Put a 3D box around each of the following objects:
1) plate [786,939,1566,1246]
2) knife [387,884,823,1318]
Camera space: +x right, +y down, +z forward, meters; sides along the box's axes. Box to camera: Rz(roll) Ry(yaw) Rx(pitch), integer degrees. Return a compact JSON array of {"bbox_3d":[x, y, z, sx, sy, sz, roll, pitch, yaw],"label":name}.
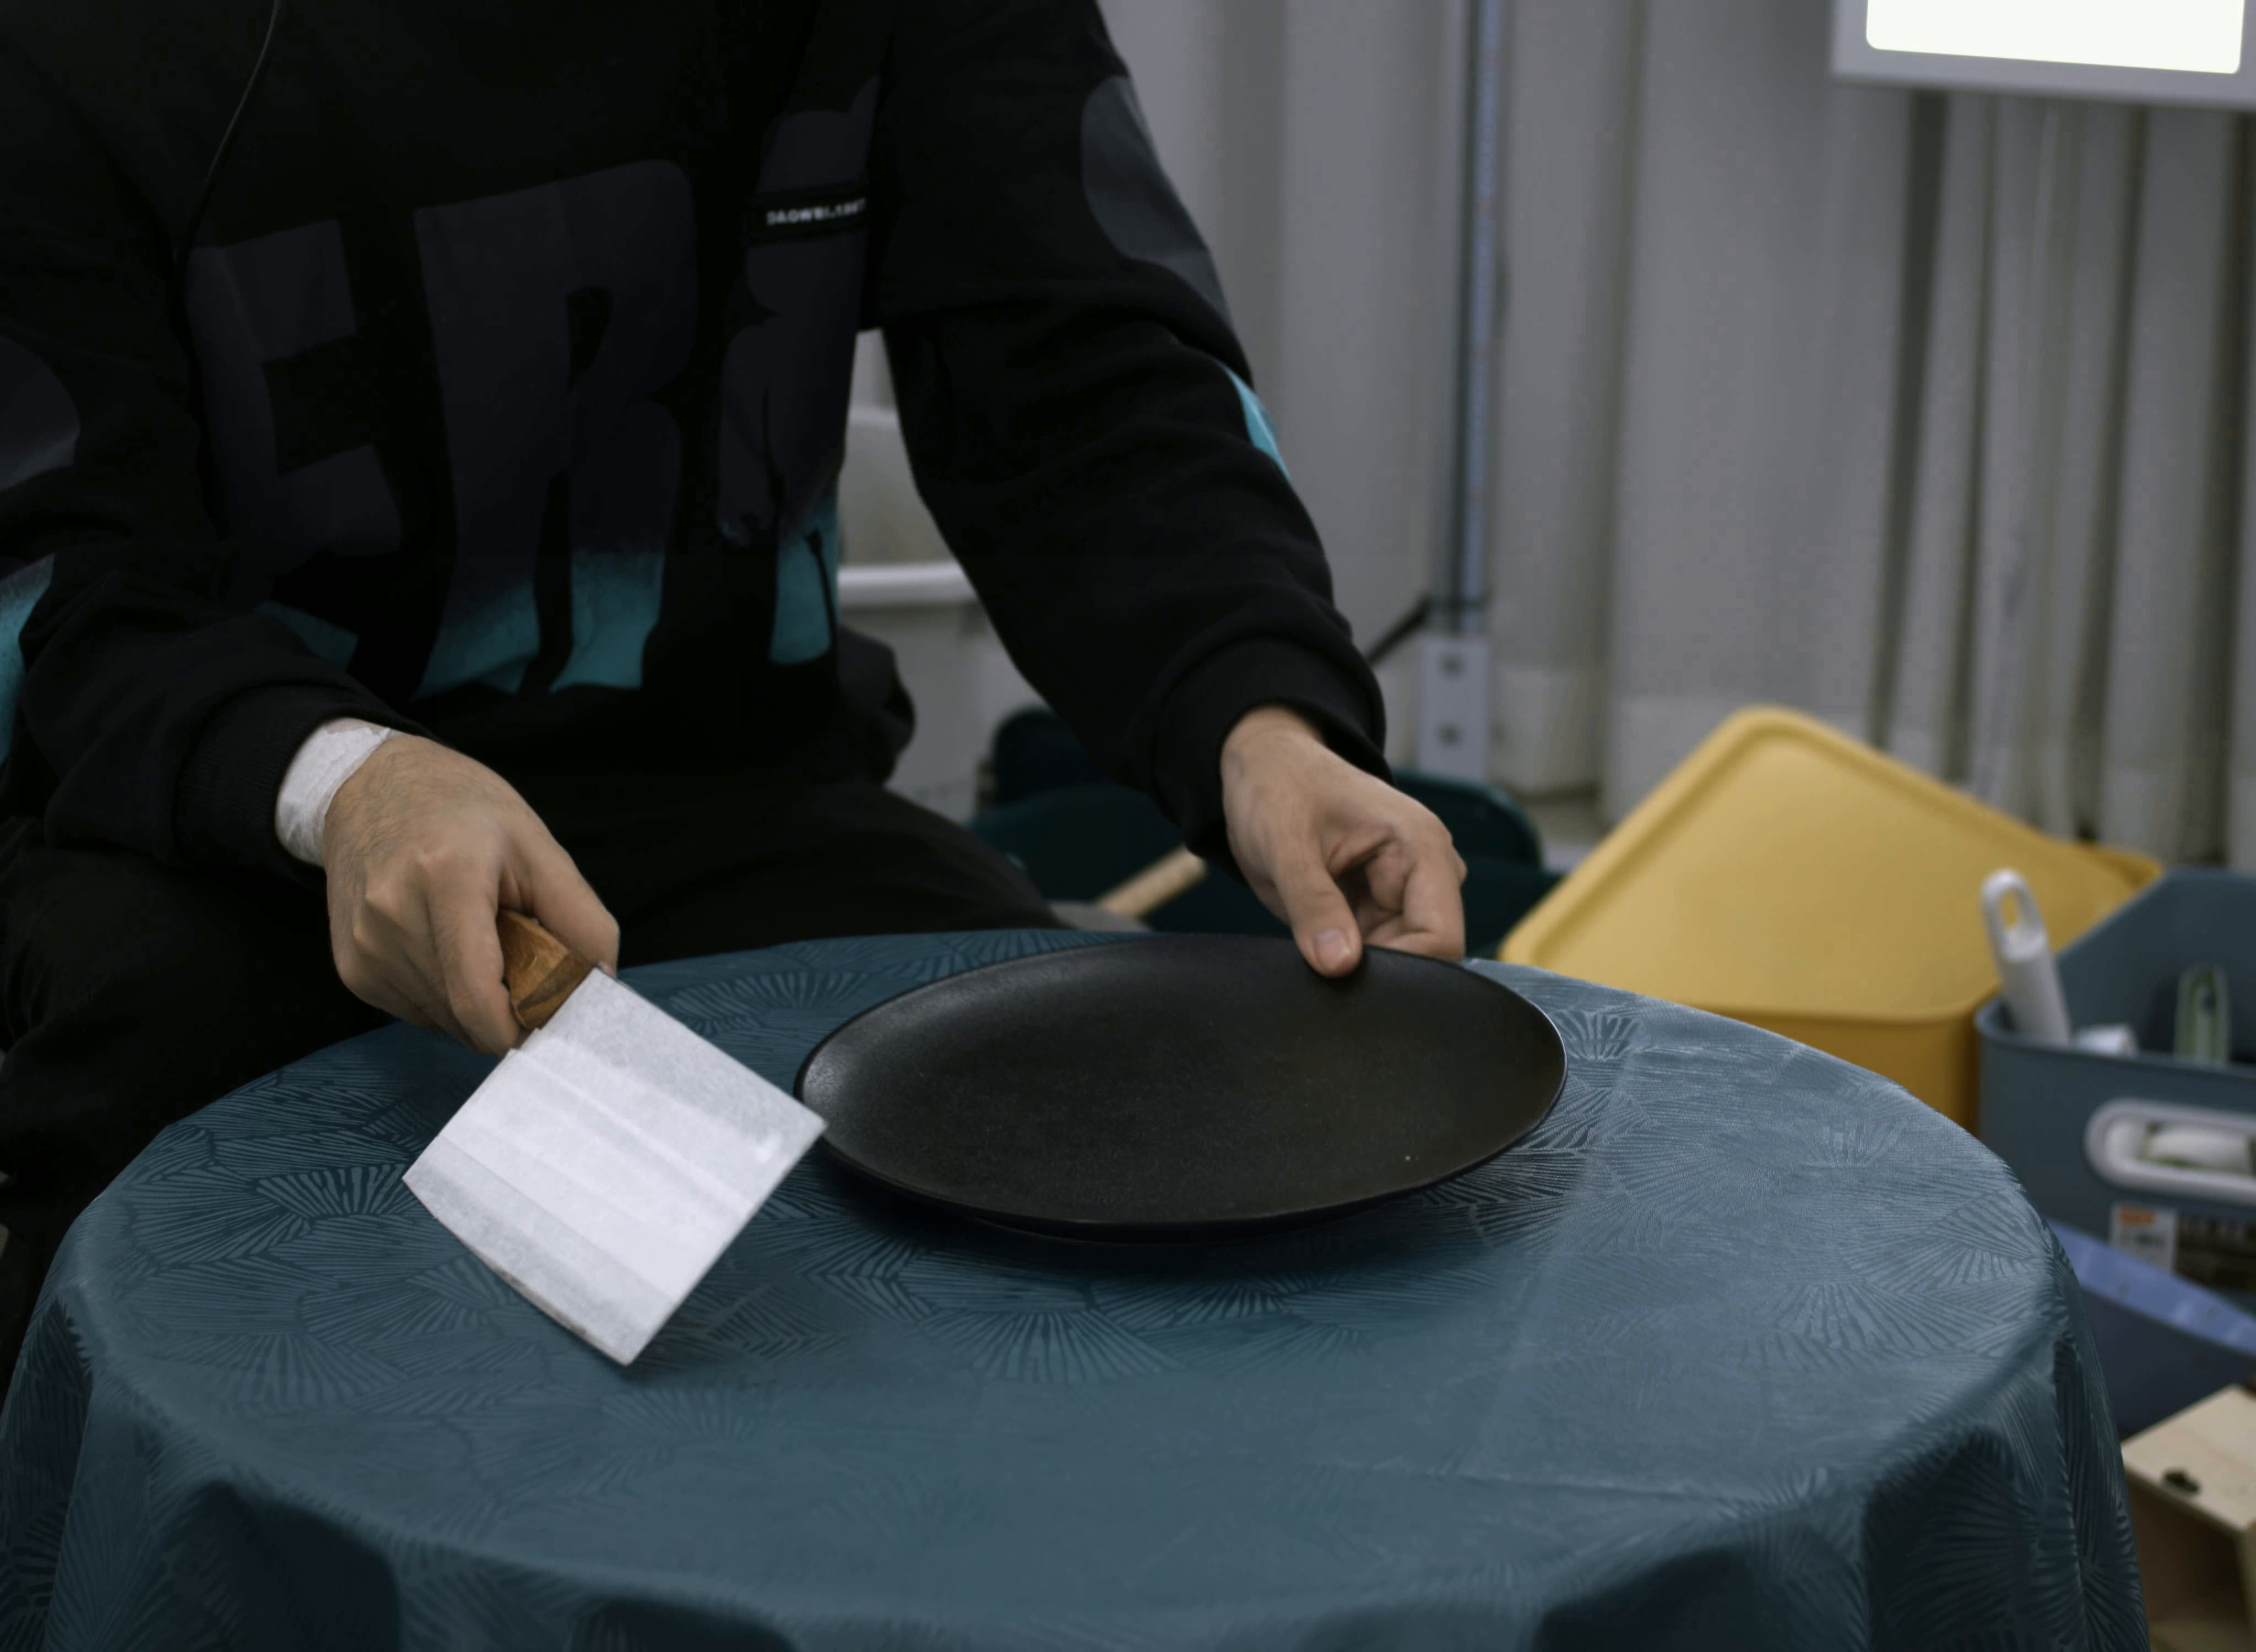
[{"bbox_3d":[0.016,0.086,1.650,0.243,0.023,0.243,-2,18,1],"label":"plate"},{"bbox_3d":[-0.178,0.083,1.597,0.093,0.021,0.302,-50,29,-8],"label":"knife"}]
